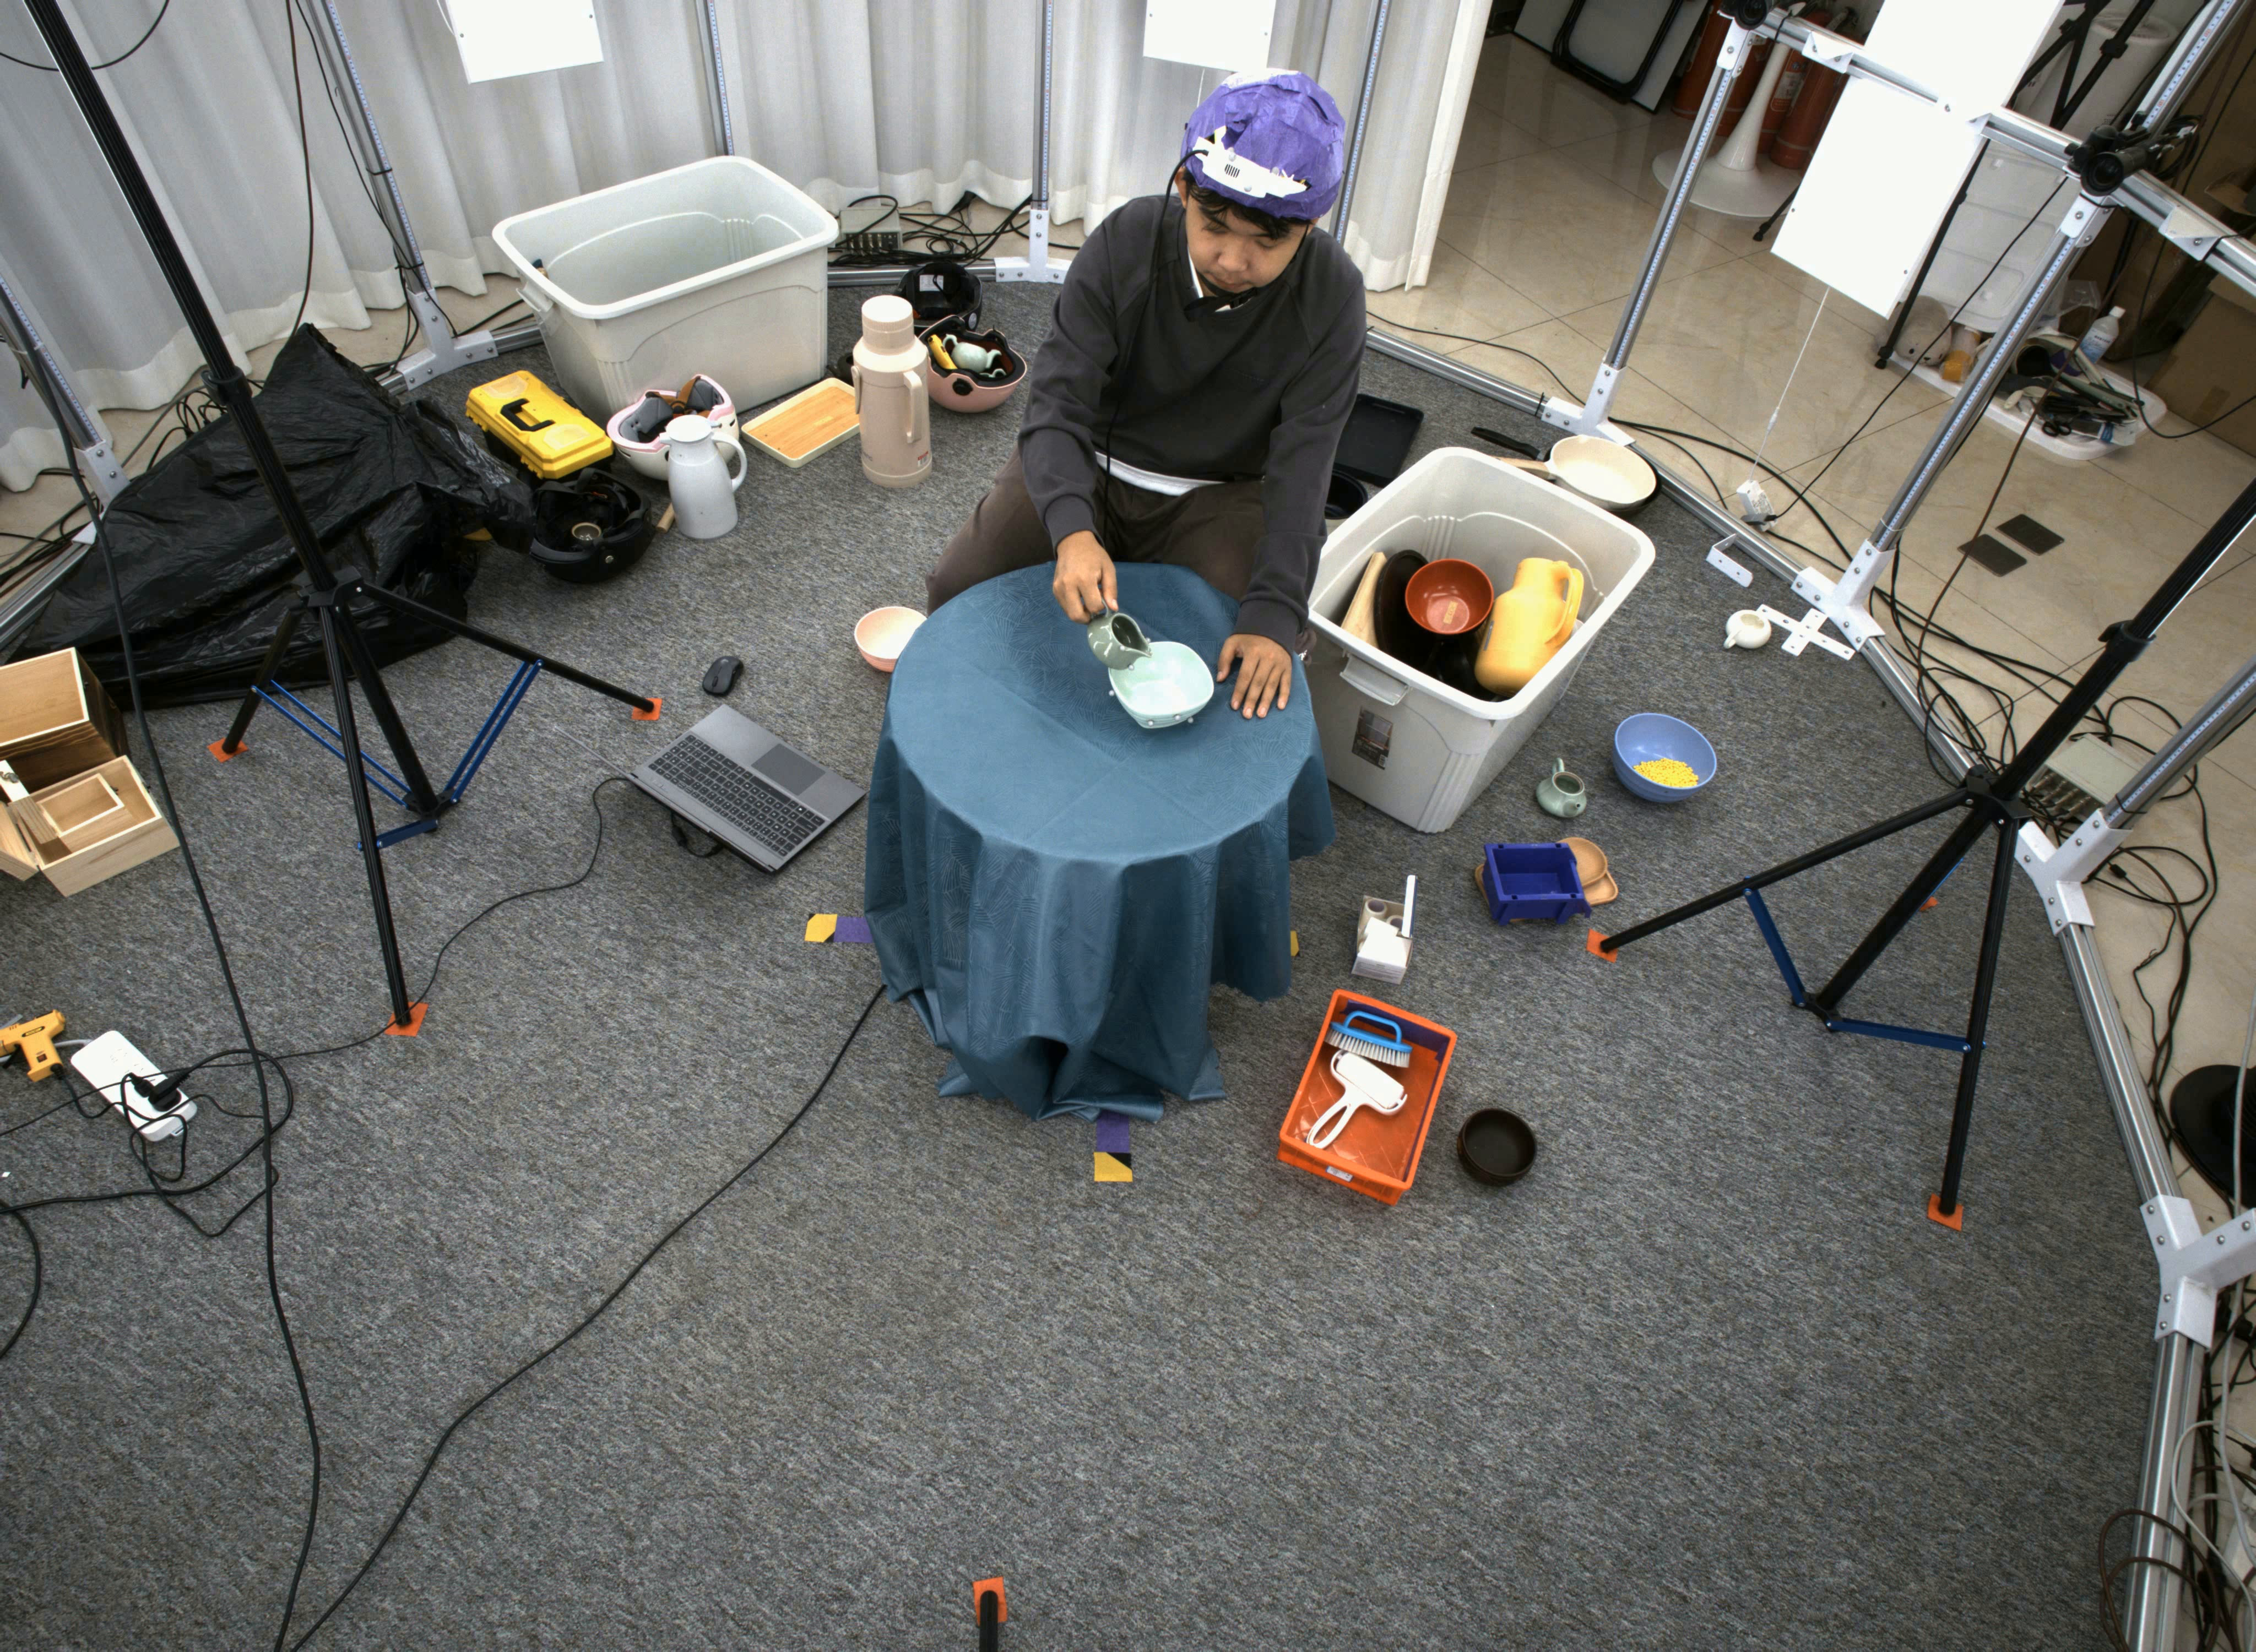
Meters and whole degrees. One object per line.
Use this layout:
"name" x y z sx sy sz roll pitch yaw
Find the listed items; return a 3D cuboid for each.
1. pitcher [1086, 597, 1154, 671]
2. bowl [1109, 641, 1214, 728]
"pitcher" -0.019 -0.262 1.760 0.112 0.055 0.085 46 46 -10
"bowl" 0.044 -0.190 1.798 0.151 0.057 0.155 2 50 -3
